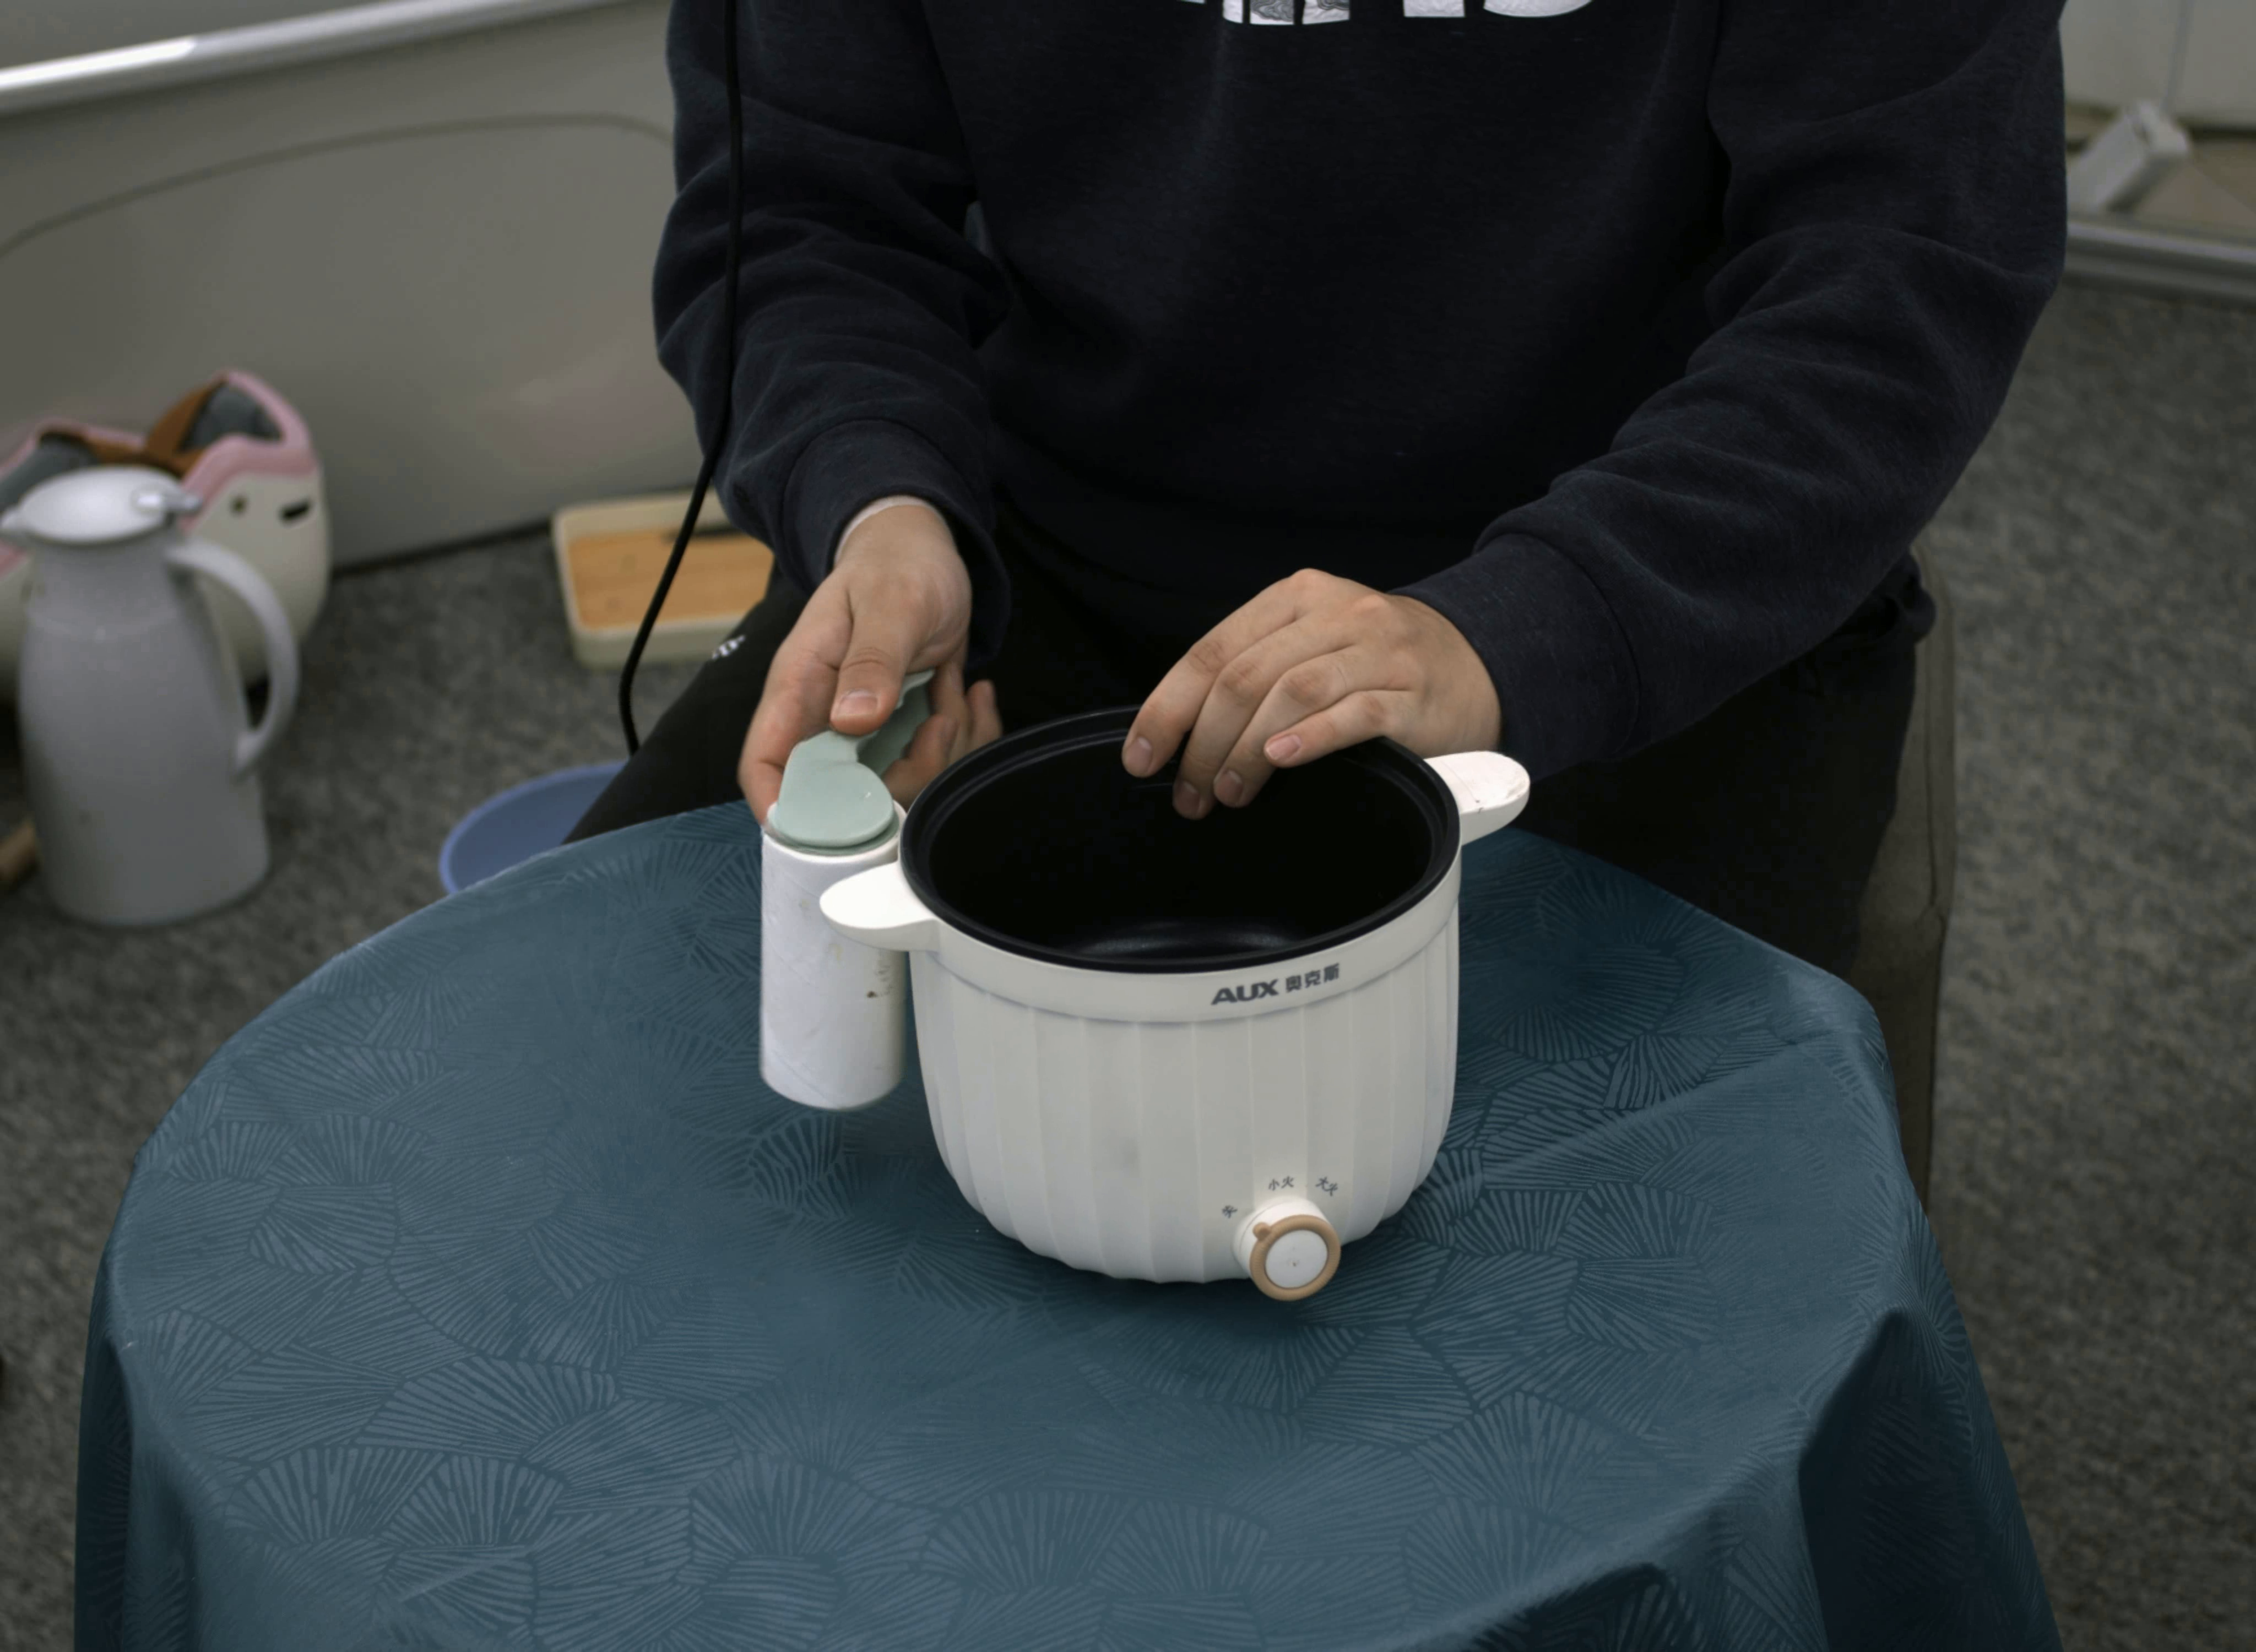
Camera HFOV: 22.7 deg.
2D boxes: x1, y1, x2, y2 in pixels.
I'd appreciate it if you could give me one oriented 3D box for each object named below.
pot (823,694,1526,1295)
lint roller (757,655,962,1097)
[{"bbox_3d":[0.023,0.060,1.833,0.241,0.141,0.192,-13,25,-16],"label":"pot"},{"bbox_3d":[-0.089,-0.006,1.913,0.048,0.115,0.201,-1,32,5],"label":"lint roller"}]
